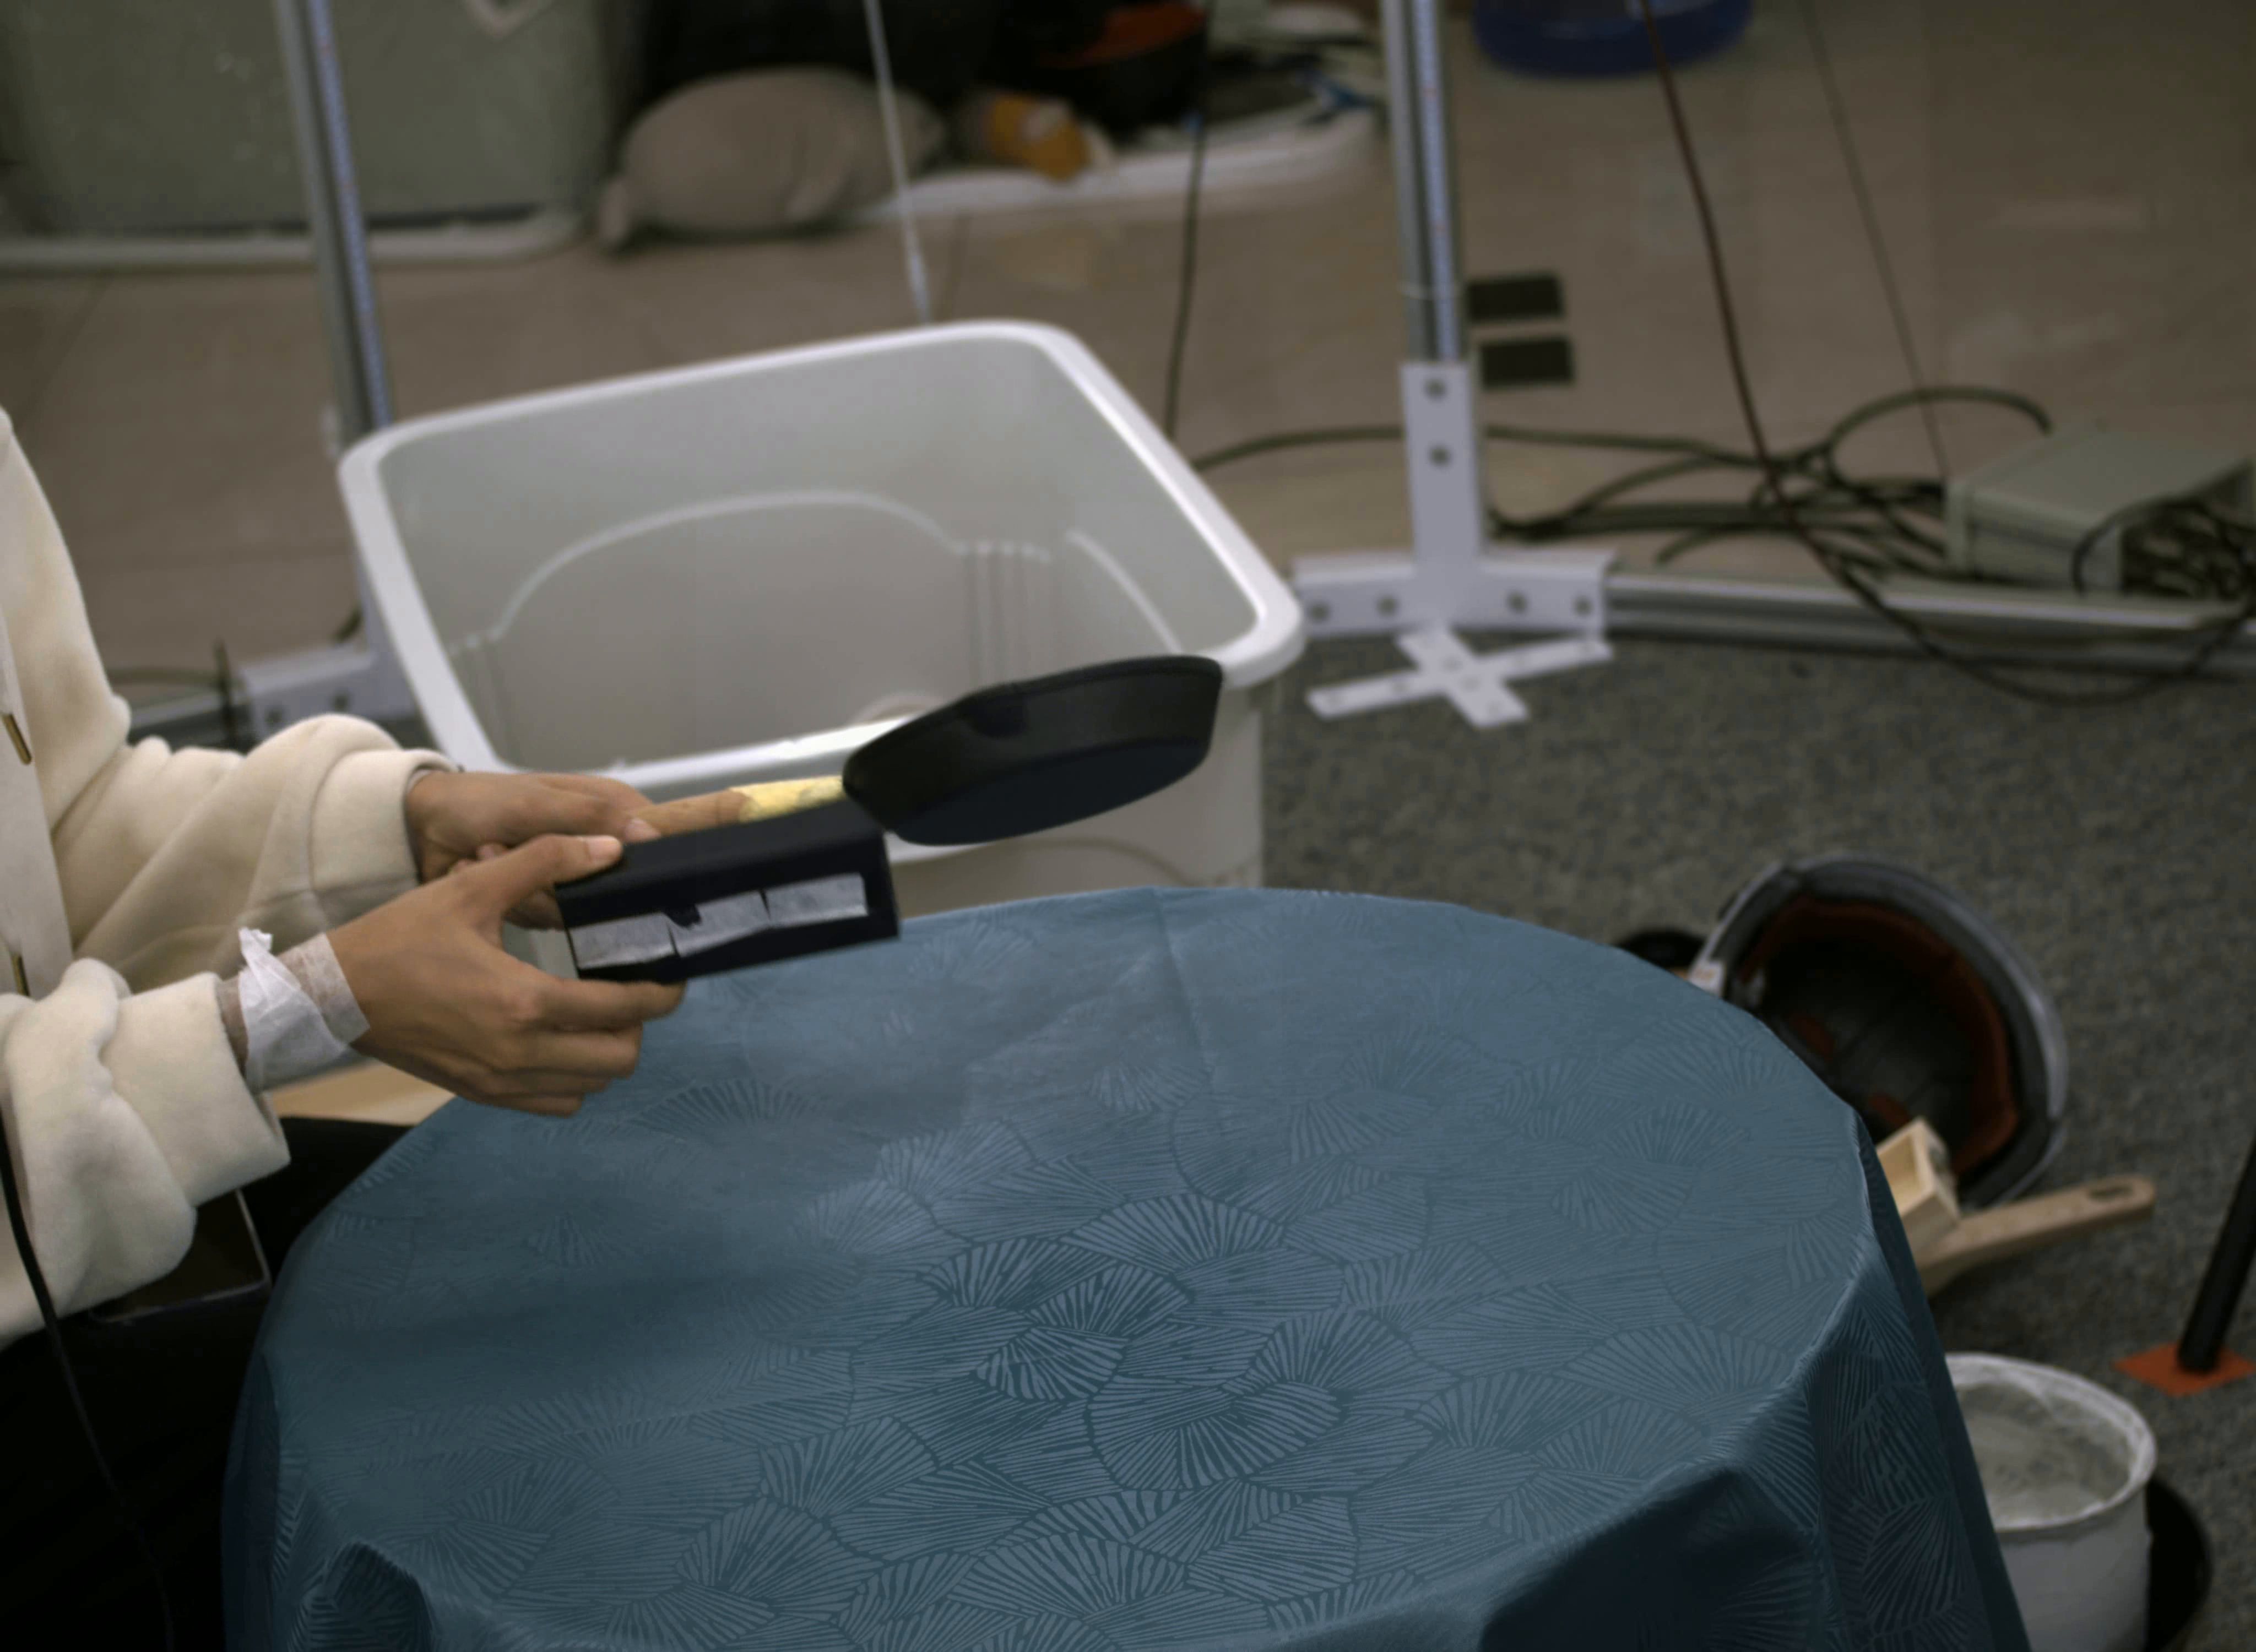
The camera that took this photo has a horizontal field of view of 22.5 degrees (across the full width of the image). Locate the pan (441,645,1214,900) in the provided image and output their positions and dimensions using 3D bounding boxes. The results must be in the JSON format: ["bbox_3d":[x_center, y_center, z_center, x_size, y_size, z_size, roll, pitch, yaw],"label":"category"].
[{"bbox_3d":[-0.118,-0.011,2.238,0.324,0.049,0.169,-17,-11,11],"label":"pan"}]

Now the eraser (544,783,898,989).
[{"bbox_3d":[-0.152,0.022,2.110,0.125,0.054,0.030,-12,31,0],"label":"eraser"}]
